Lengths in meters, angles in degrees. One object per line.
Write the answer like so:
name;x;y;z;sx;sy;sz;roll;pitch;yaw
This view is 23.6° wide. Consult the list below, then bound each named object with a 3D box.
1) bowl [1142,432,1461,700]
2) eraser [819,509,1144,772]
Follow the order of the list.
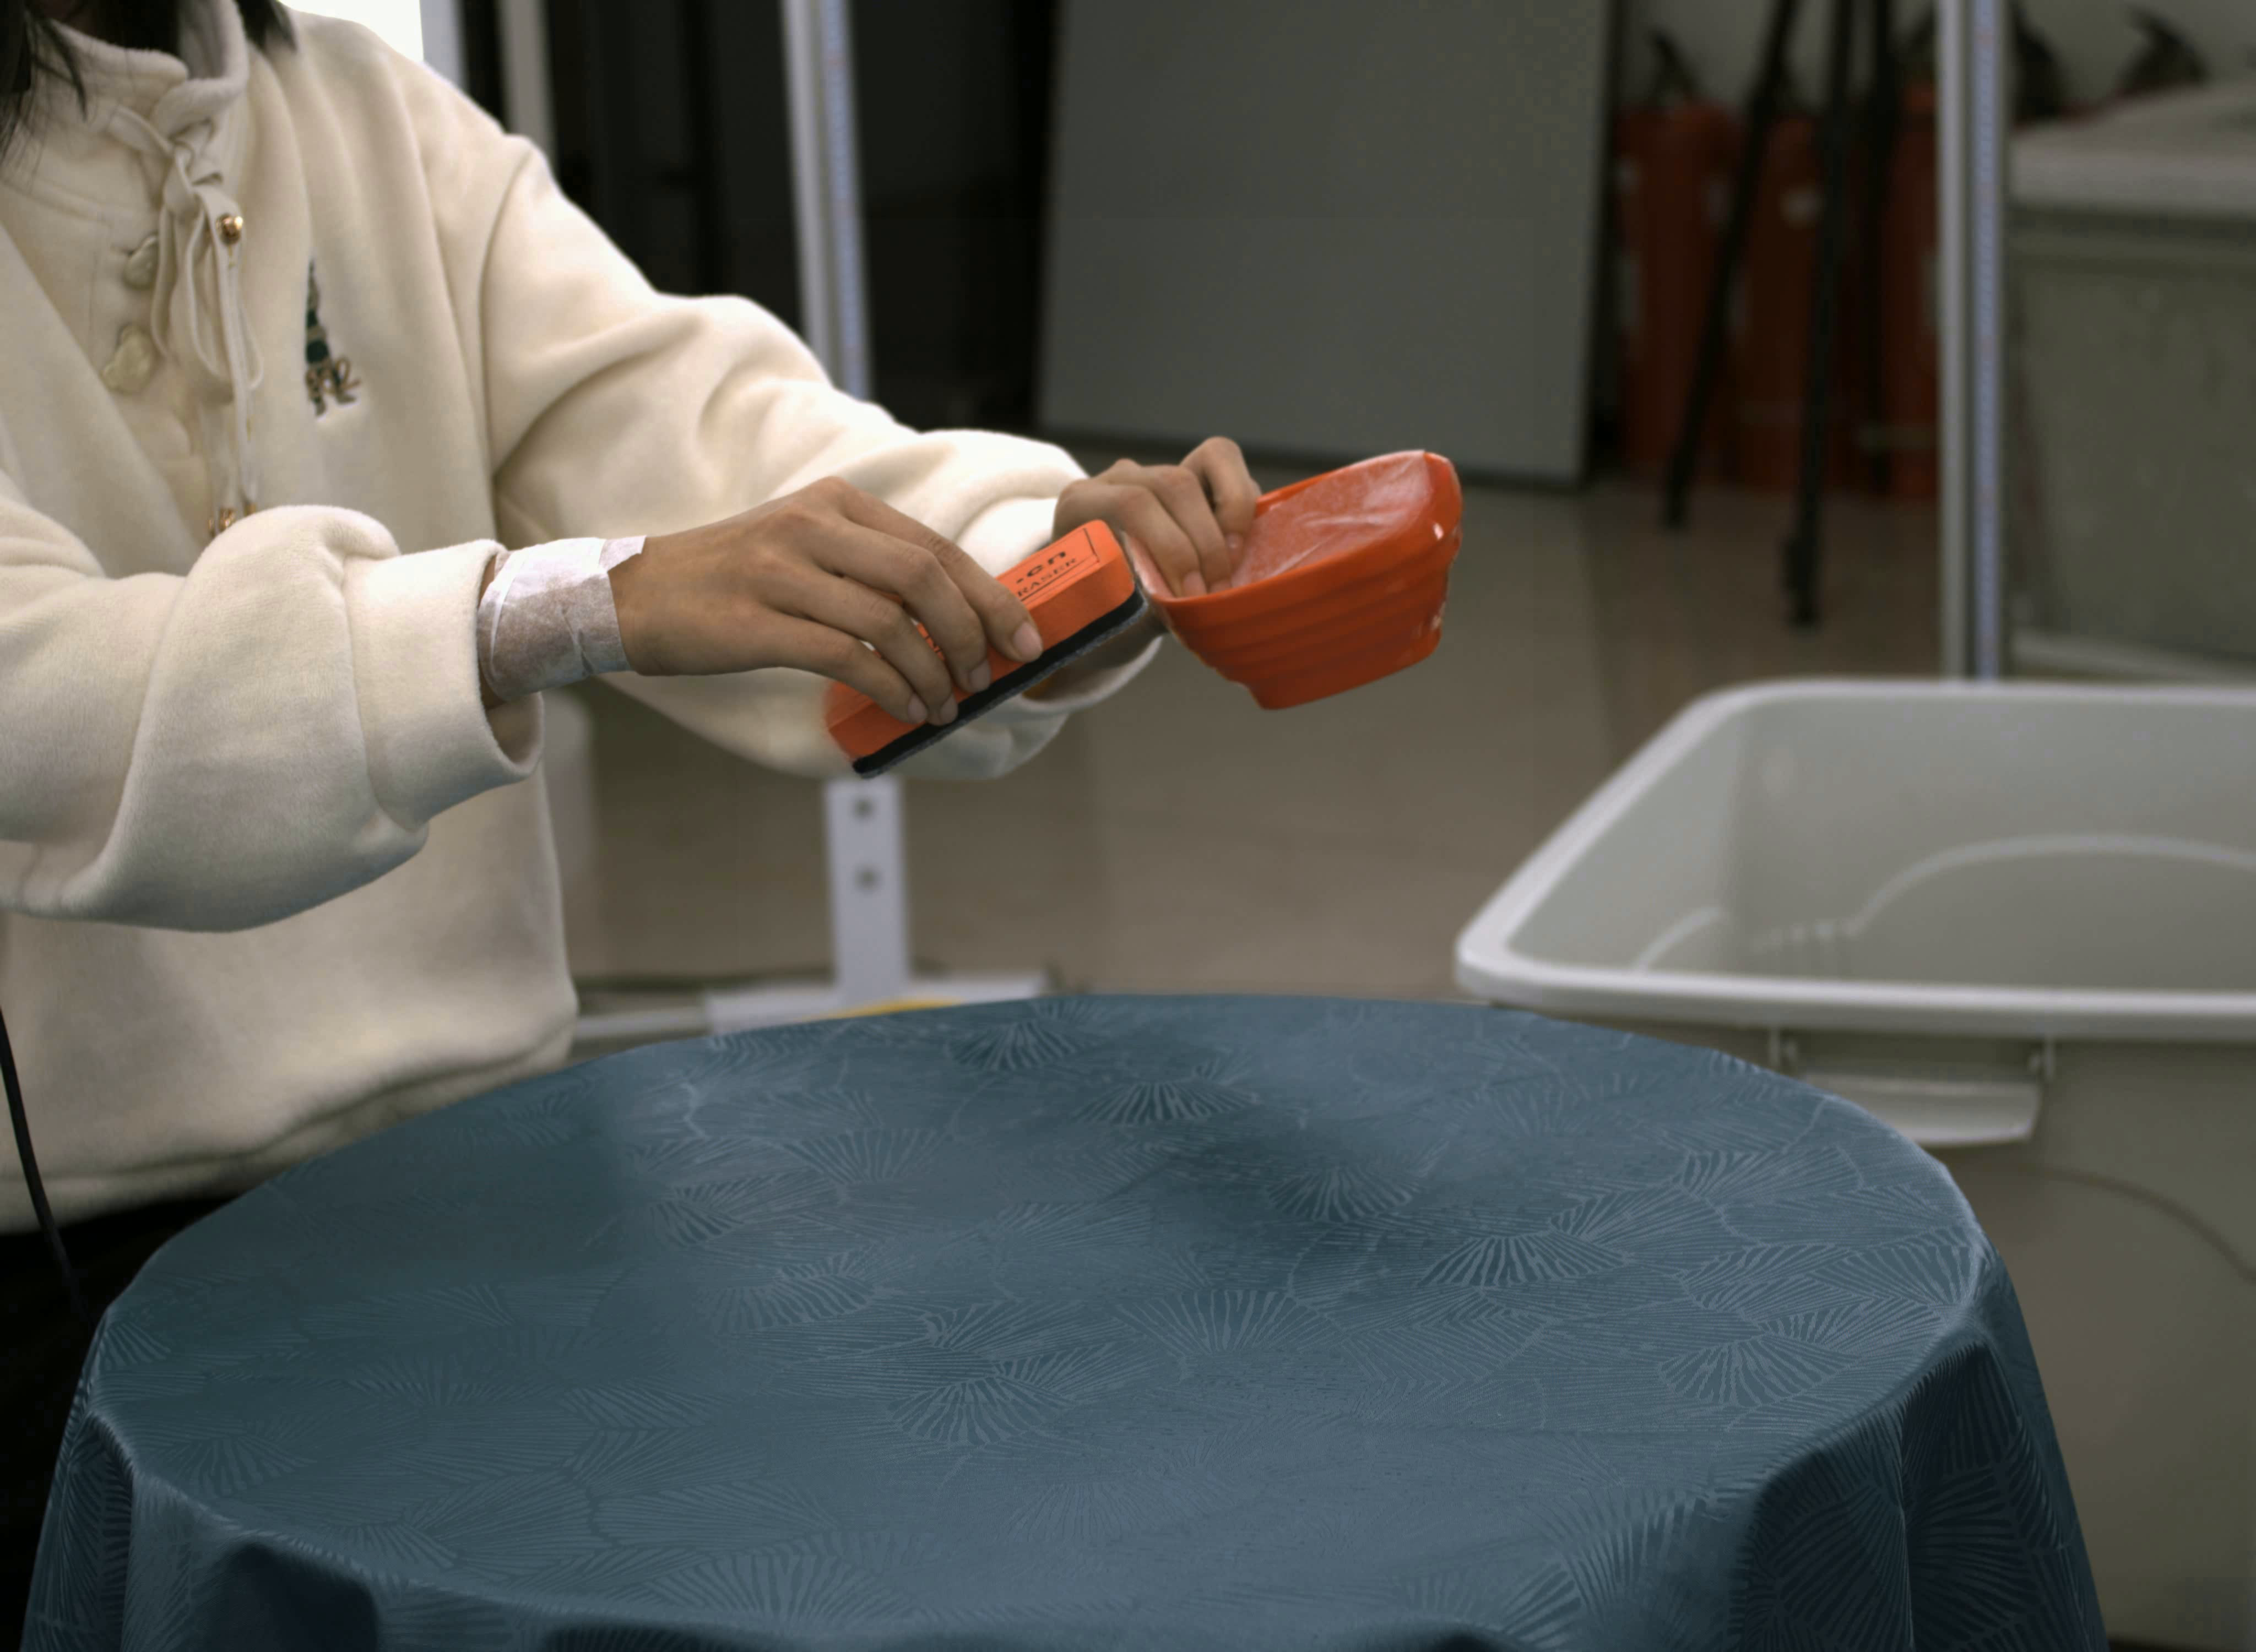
bowl;0.063;-0.080;1.763;0.118;0.051;0.119;-21;16;5
eraser;-0.047;-0.059;1.723;0.107;0.023;0.059;-31;19;6
